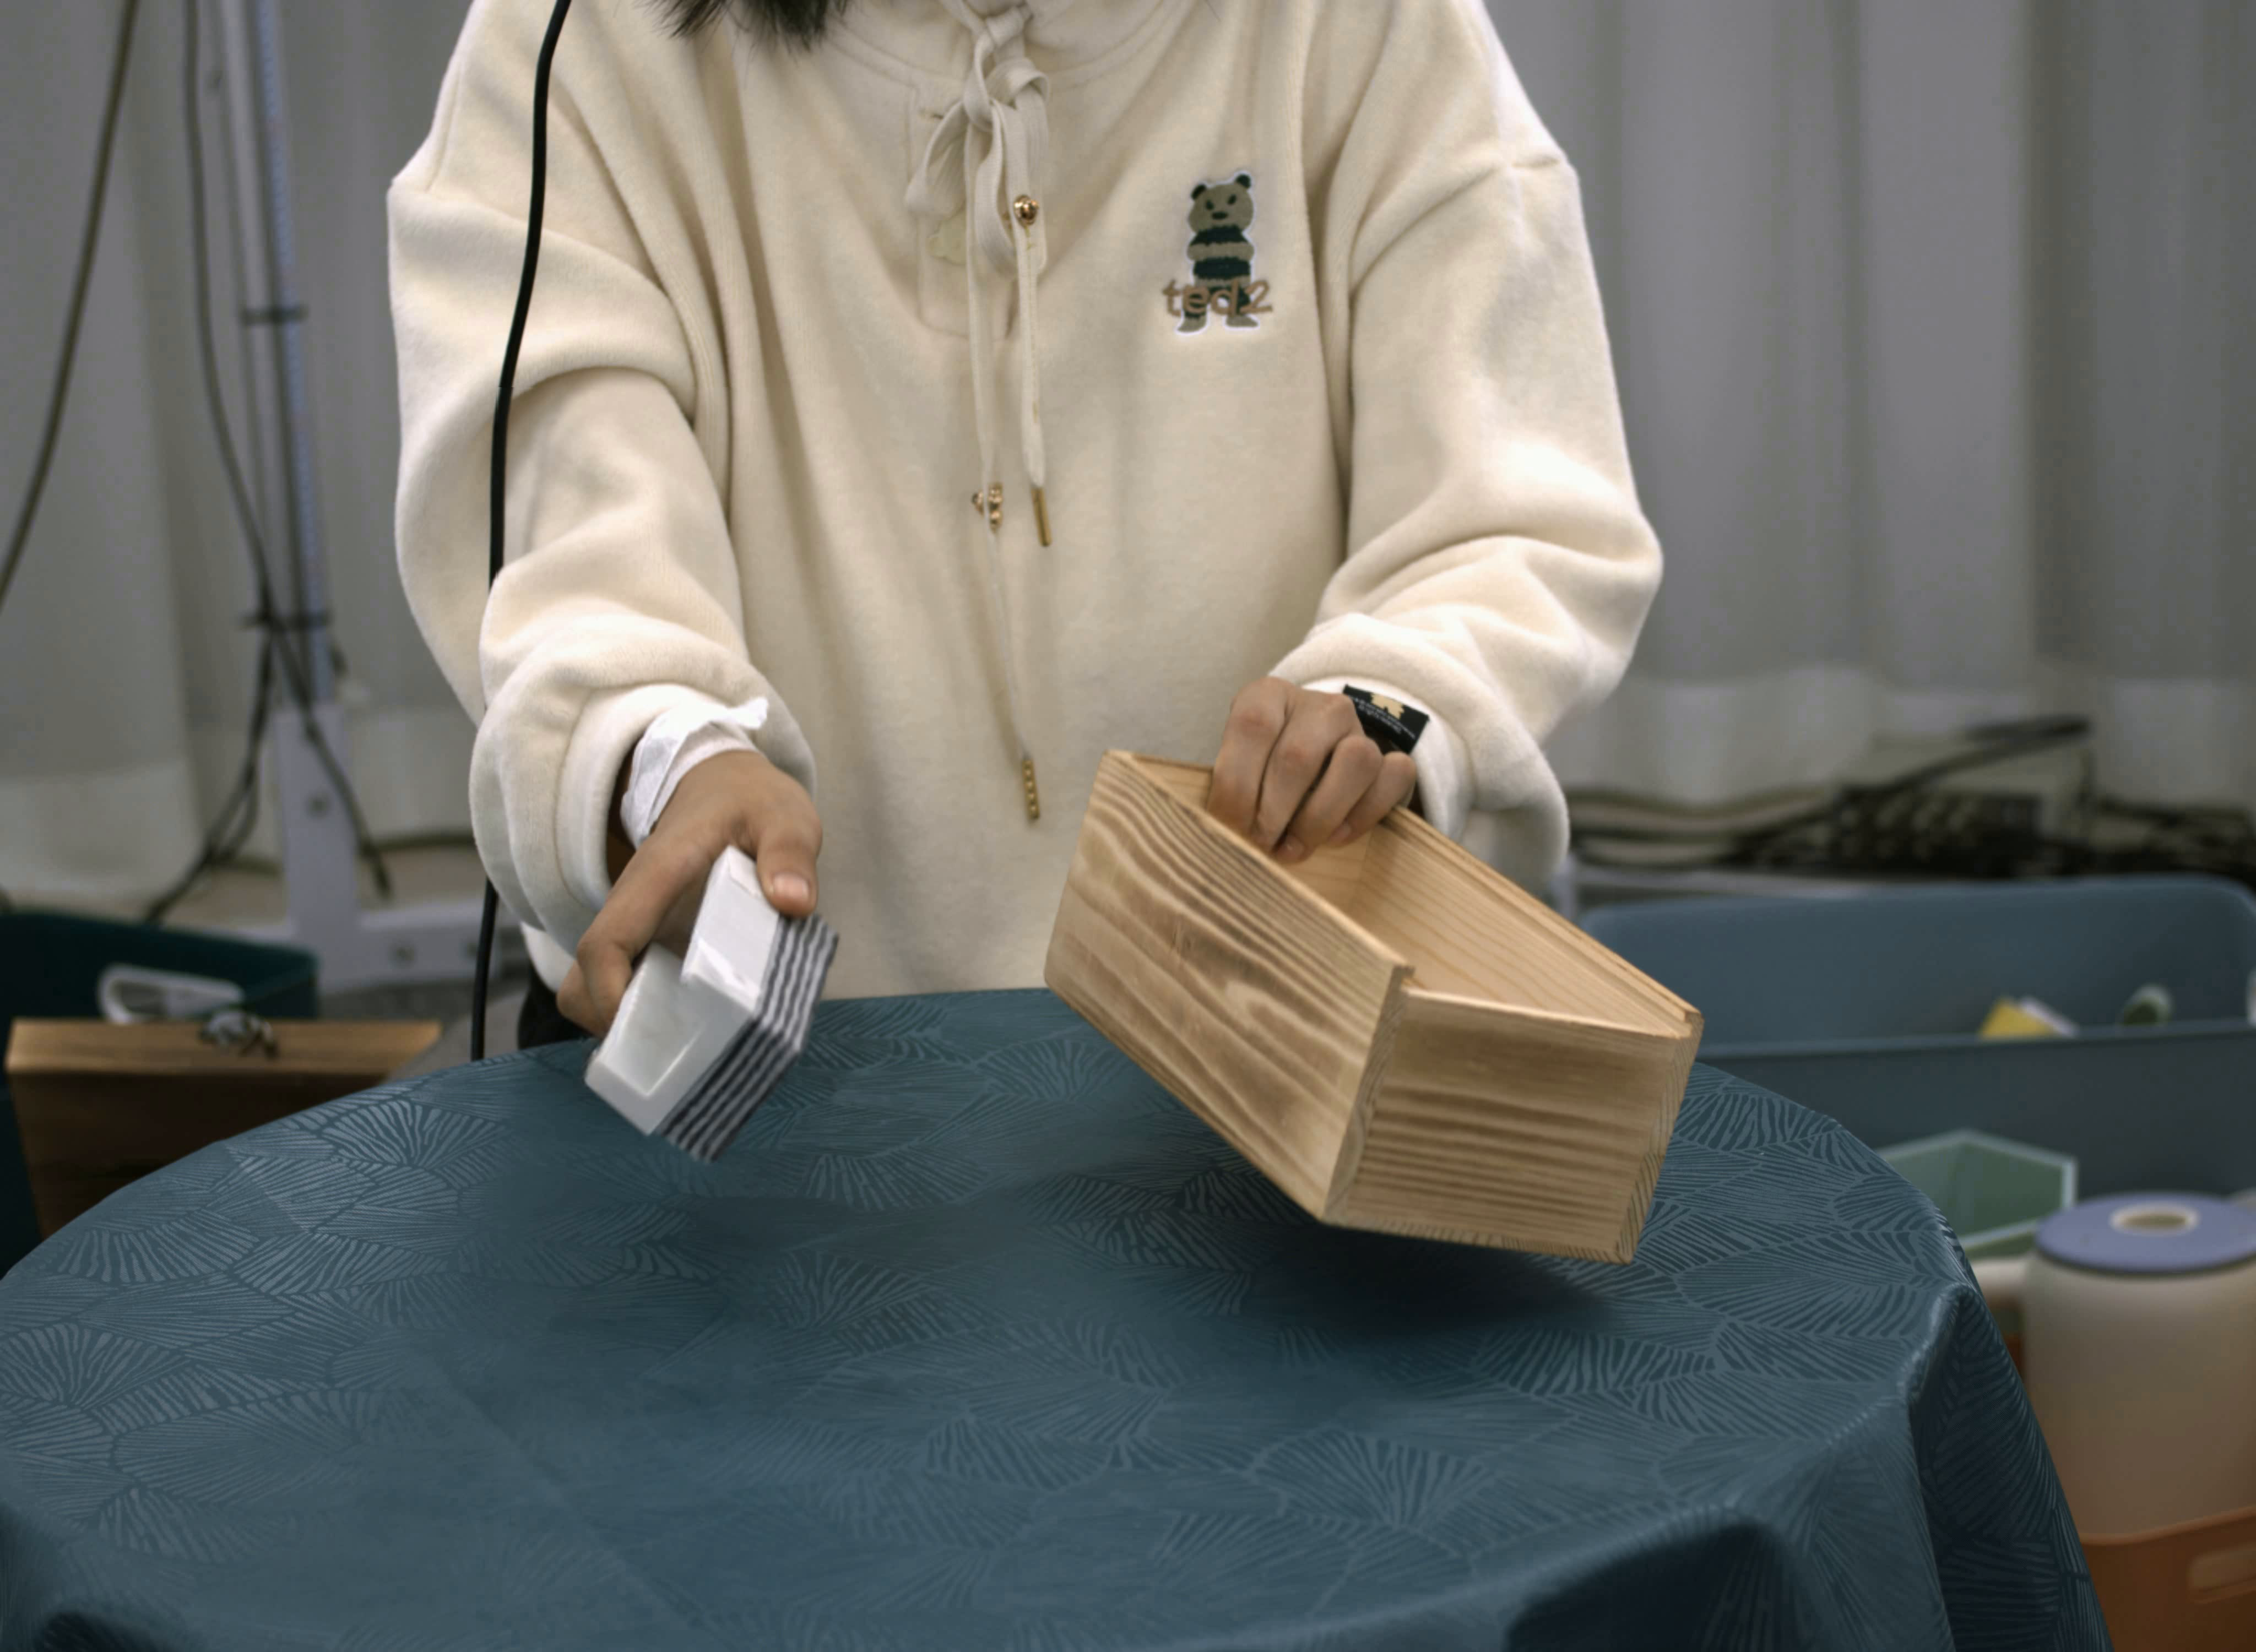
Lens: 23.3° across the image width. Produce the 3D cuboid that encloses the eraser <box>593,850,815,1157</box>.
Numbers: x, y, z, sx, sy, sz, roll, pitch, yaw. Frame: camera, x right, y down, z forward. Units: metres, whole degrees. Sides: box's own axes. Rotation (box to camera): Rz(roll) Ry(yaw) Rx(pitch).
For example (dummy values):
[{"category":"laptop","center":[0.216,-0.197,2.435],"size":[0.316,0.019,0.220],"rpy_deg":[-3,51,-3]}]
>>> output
[{"category":"eraser","center":[-0.123,0.052,1.628],"size":[0.046,0.049,0.135],"rpy_deg":[35,10,-9]}]

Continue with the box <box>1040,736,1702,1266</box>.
[{"category":"box","center":[0.069,0.050,1.655],"size":[0.106,0.080,0.213],"rpy_deg":[11,13,-28]}]
